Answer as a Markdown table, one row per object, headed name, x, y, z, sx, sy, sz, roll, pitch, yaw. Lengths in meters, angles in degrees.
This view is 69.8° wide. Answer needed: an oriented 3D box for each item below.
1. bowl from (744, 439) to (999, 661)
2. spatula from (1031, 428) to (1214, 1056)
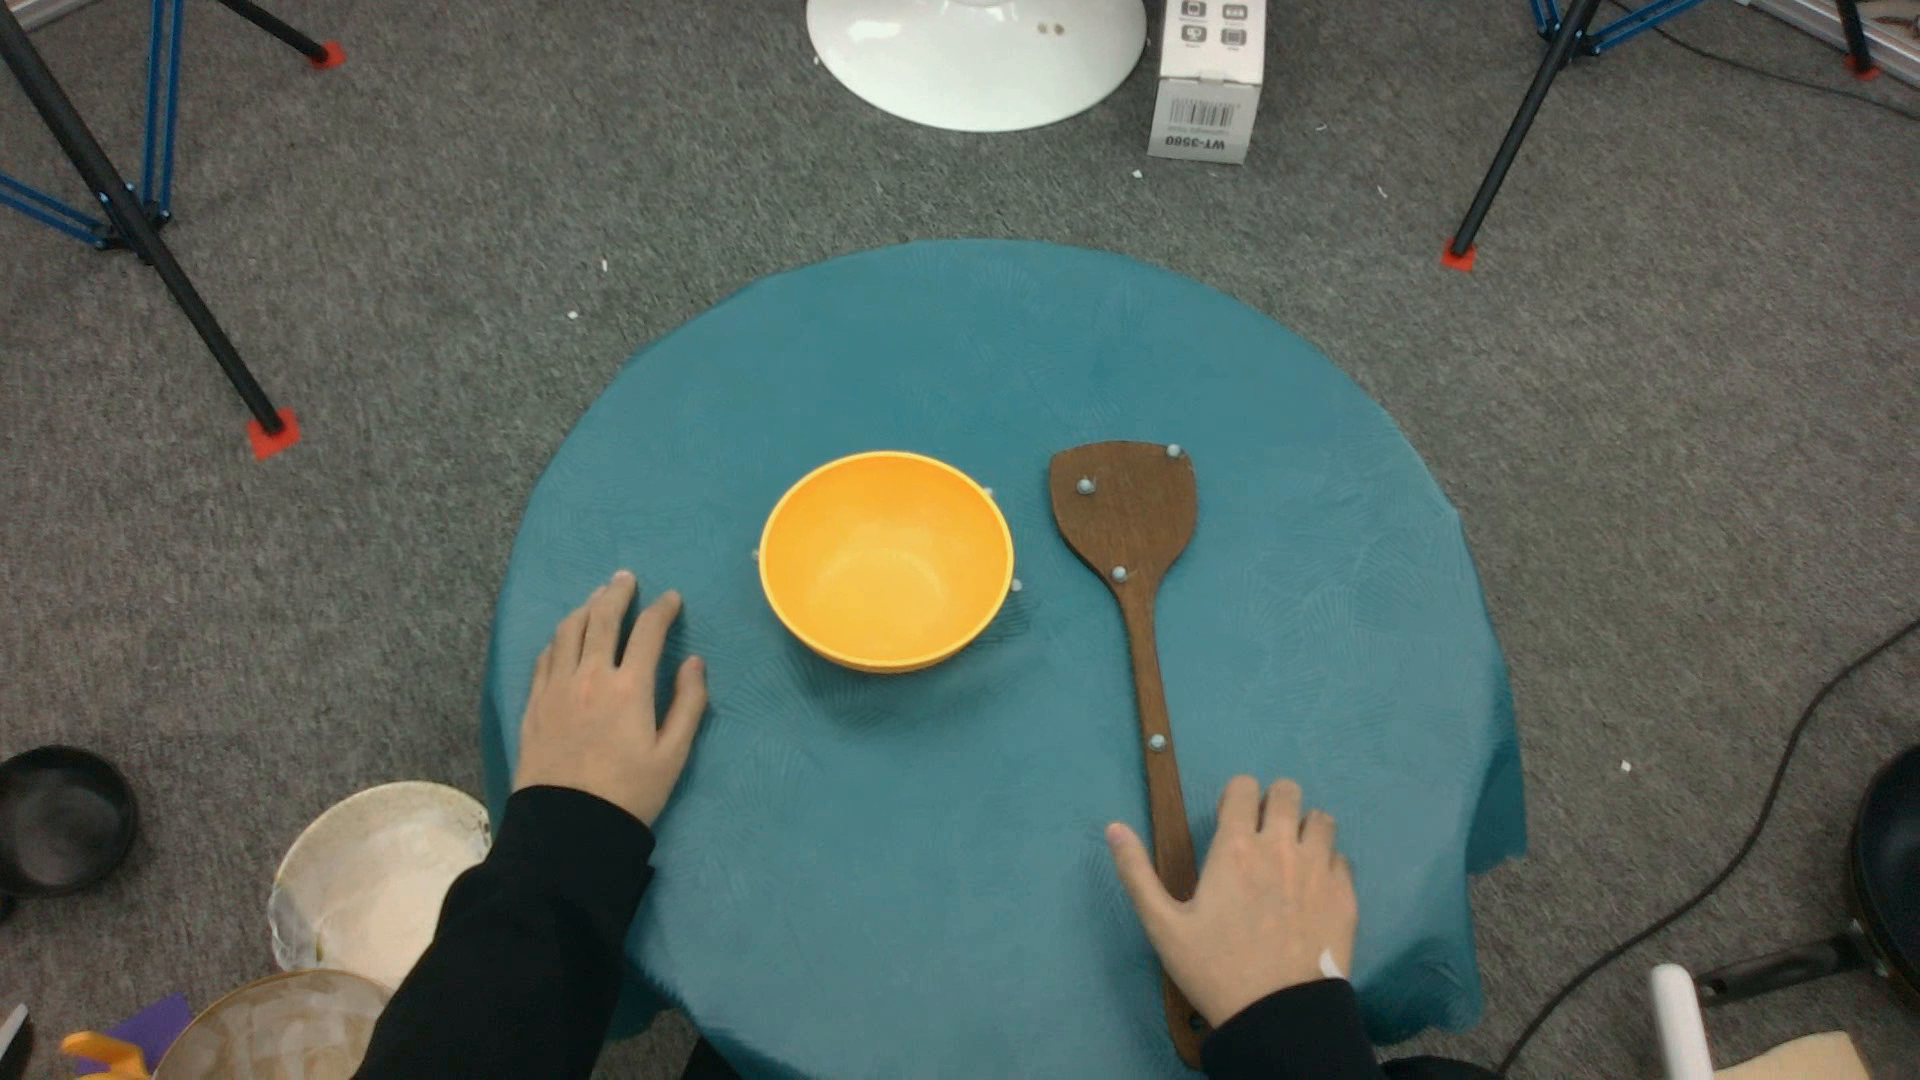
| name | x | y | z | sx | sy | sz | roll | pitch | yaw |
| --- | --- | --- | --- | --- | --- | --- | --- | --- | --- |
| bowl | -0.050 | 0.015 | 0.805 | 0.145 | 0.060 | 0.146 | 0 | 58 | 0 |
| spatula | 0.103 | 0.093 | 0.791 | 0.096 | 0.016 | 0.387 | -2 | 58 | -5 |
